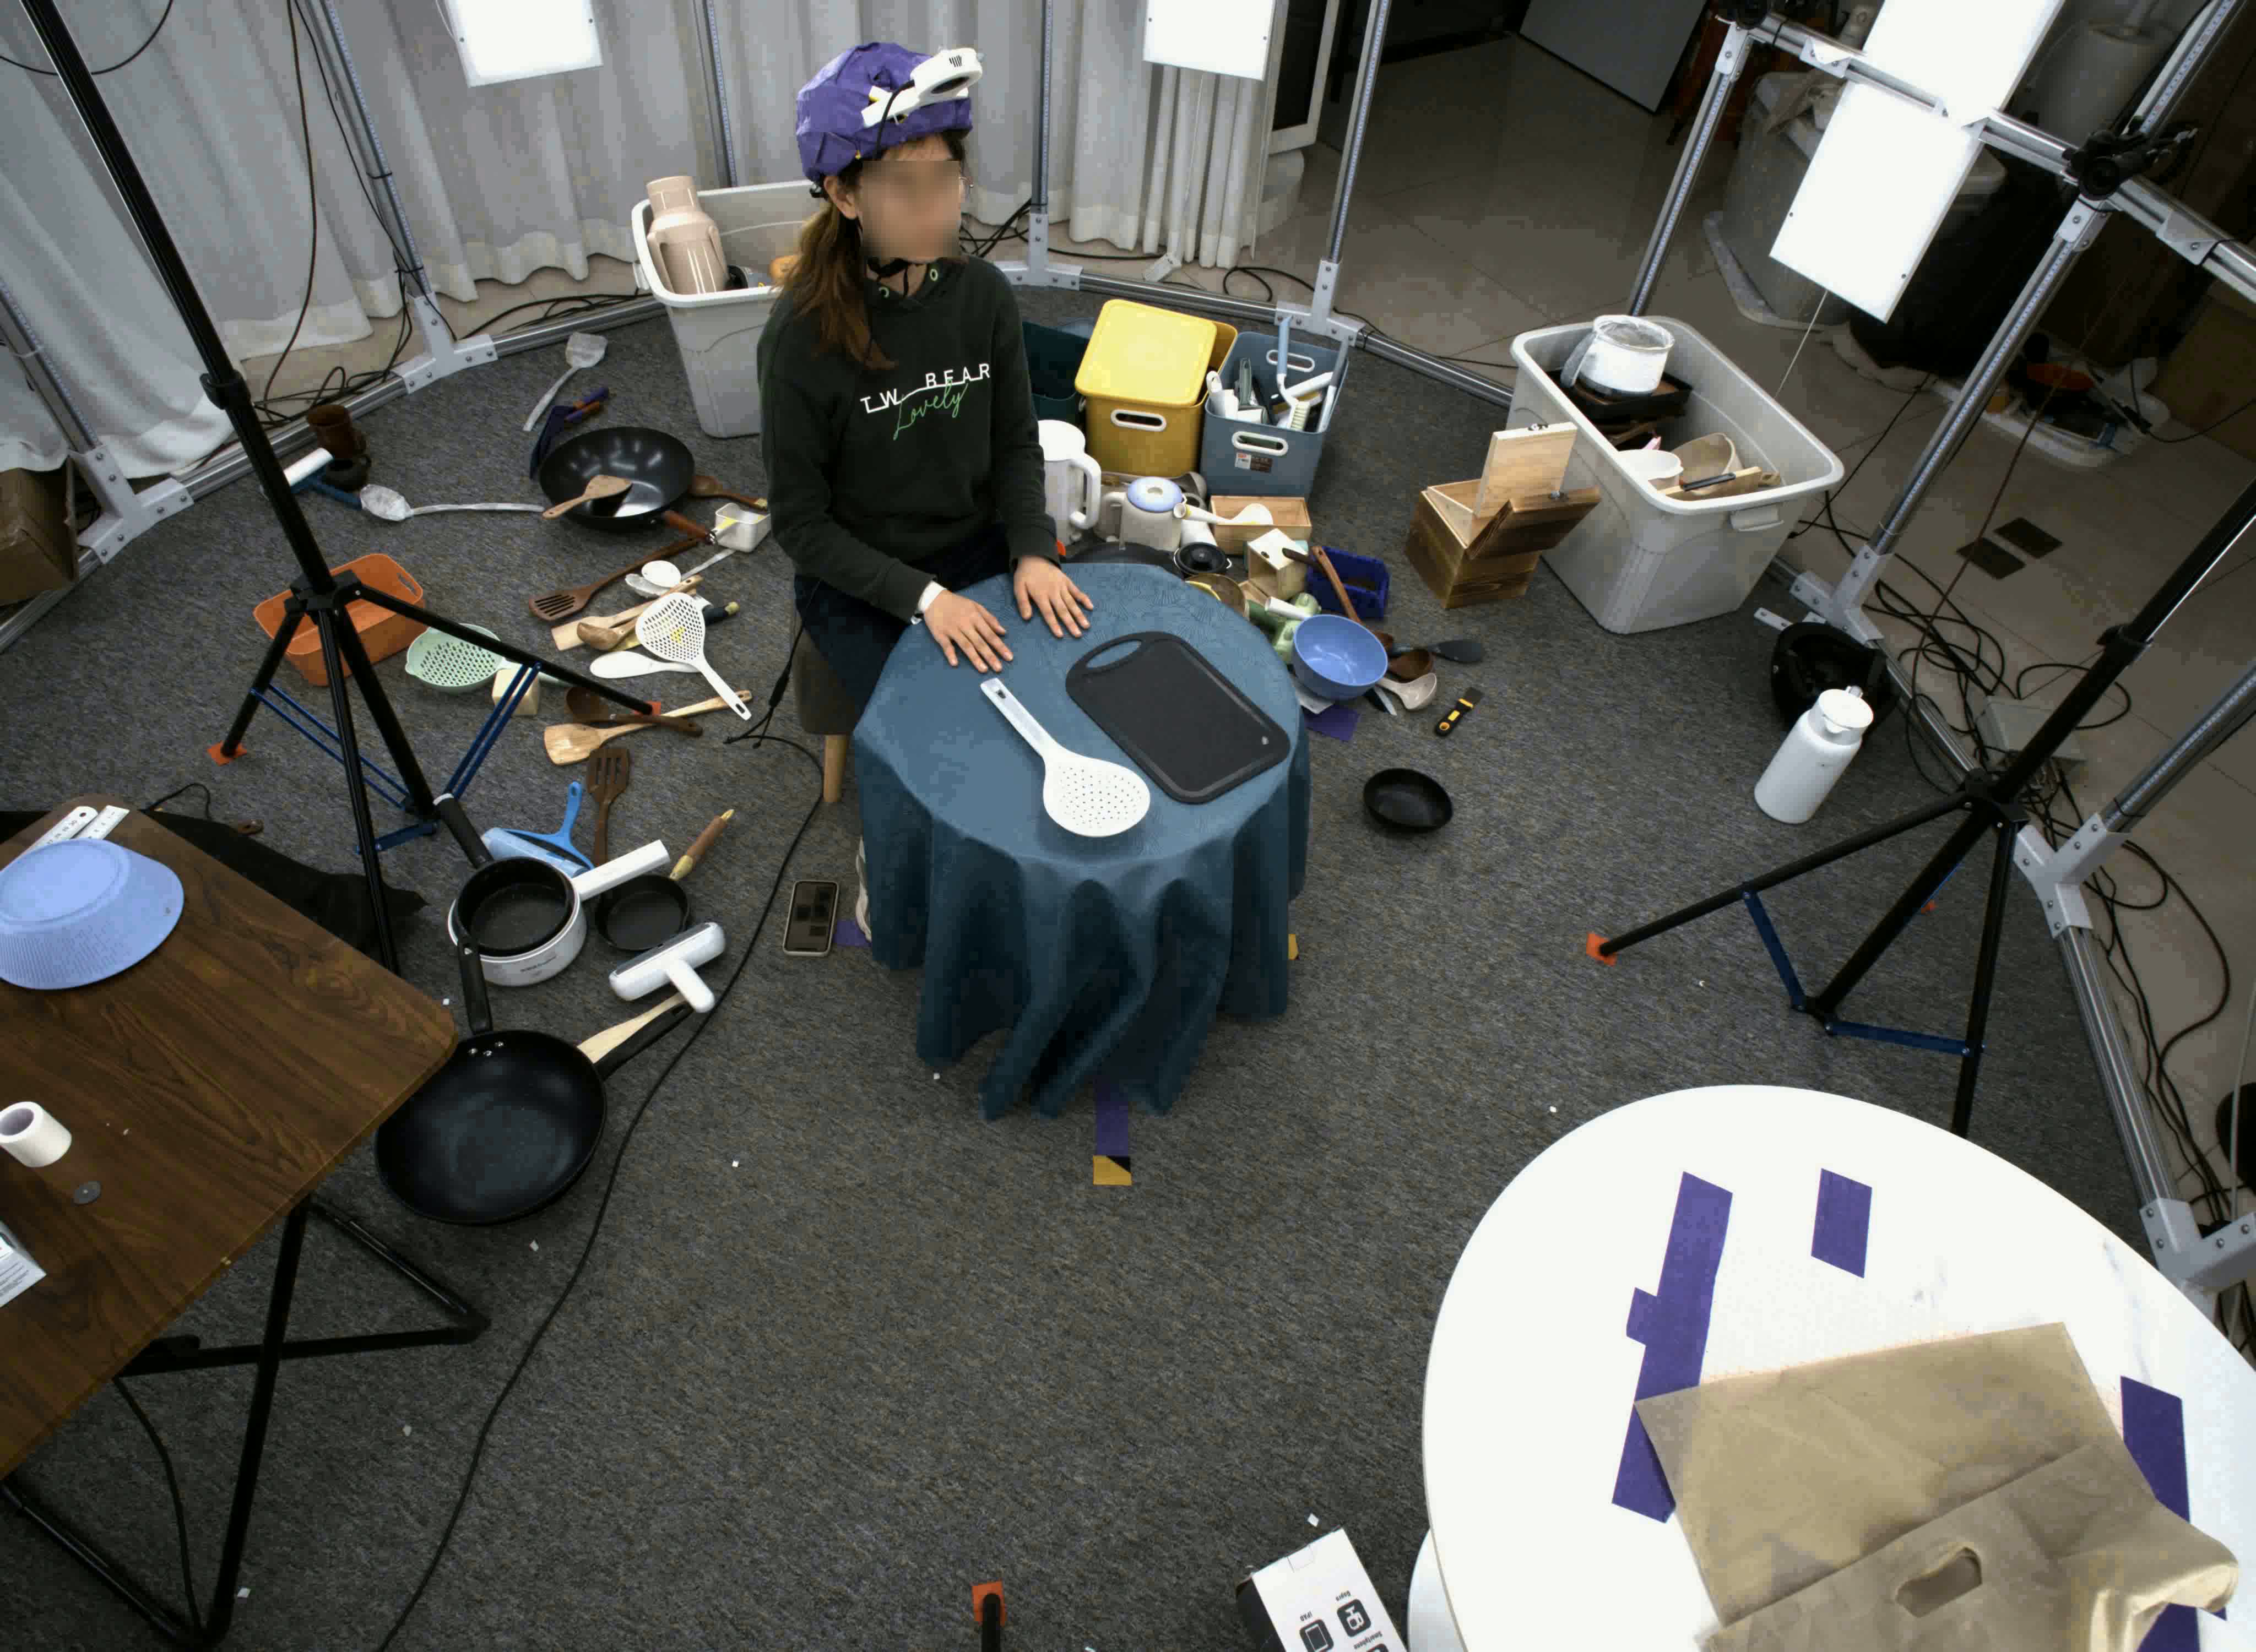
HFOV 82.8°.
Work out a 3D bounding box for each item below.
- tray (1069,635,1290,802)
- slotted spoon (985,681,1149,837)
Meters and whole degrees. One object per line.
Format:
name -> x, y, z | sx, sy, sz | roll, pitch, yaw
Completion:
tray -> 0.065, -0.166, 1.828 | 0.212, 0.009, 0.331 | -27, 55, -25
slotted spoon -> -0.100, -0.096, 1.731 | 0.136, 0.044, 0.357 | -22, 53, -24
